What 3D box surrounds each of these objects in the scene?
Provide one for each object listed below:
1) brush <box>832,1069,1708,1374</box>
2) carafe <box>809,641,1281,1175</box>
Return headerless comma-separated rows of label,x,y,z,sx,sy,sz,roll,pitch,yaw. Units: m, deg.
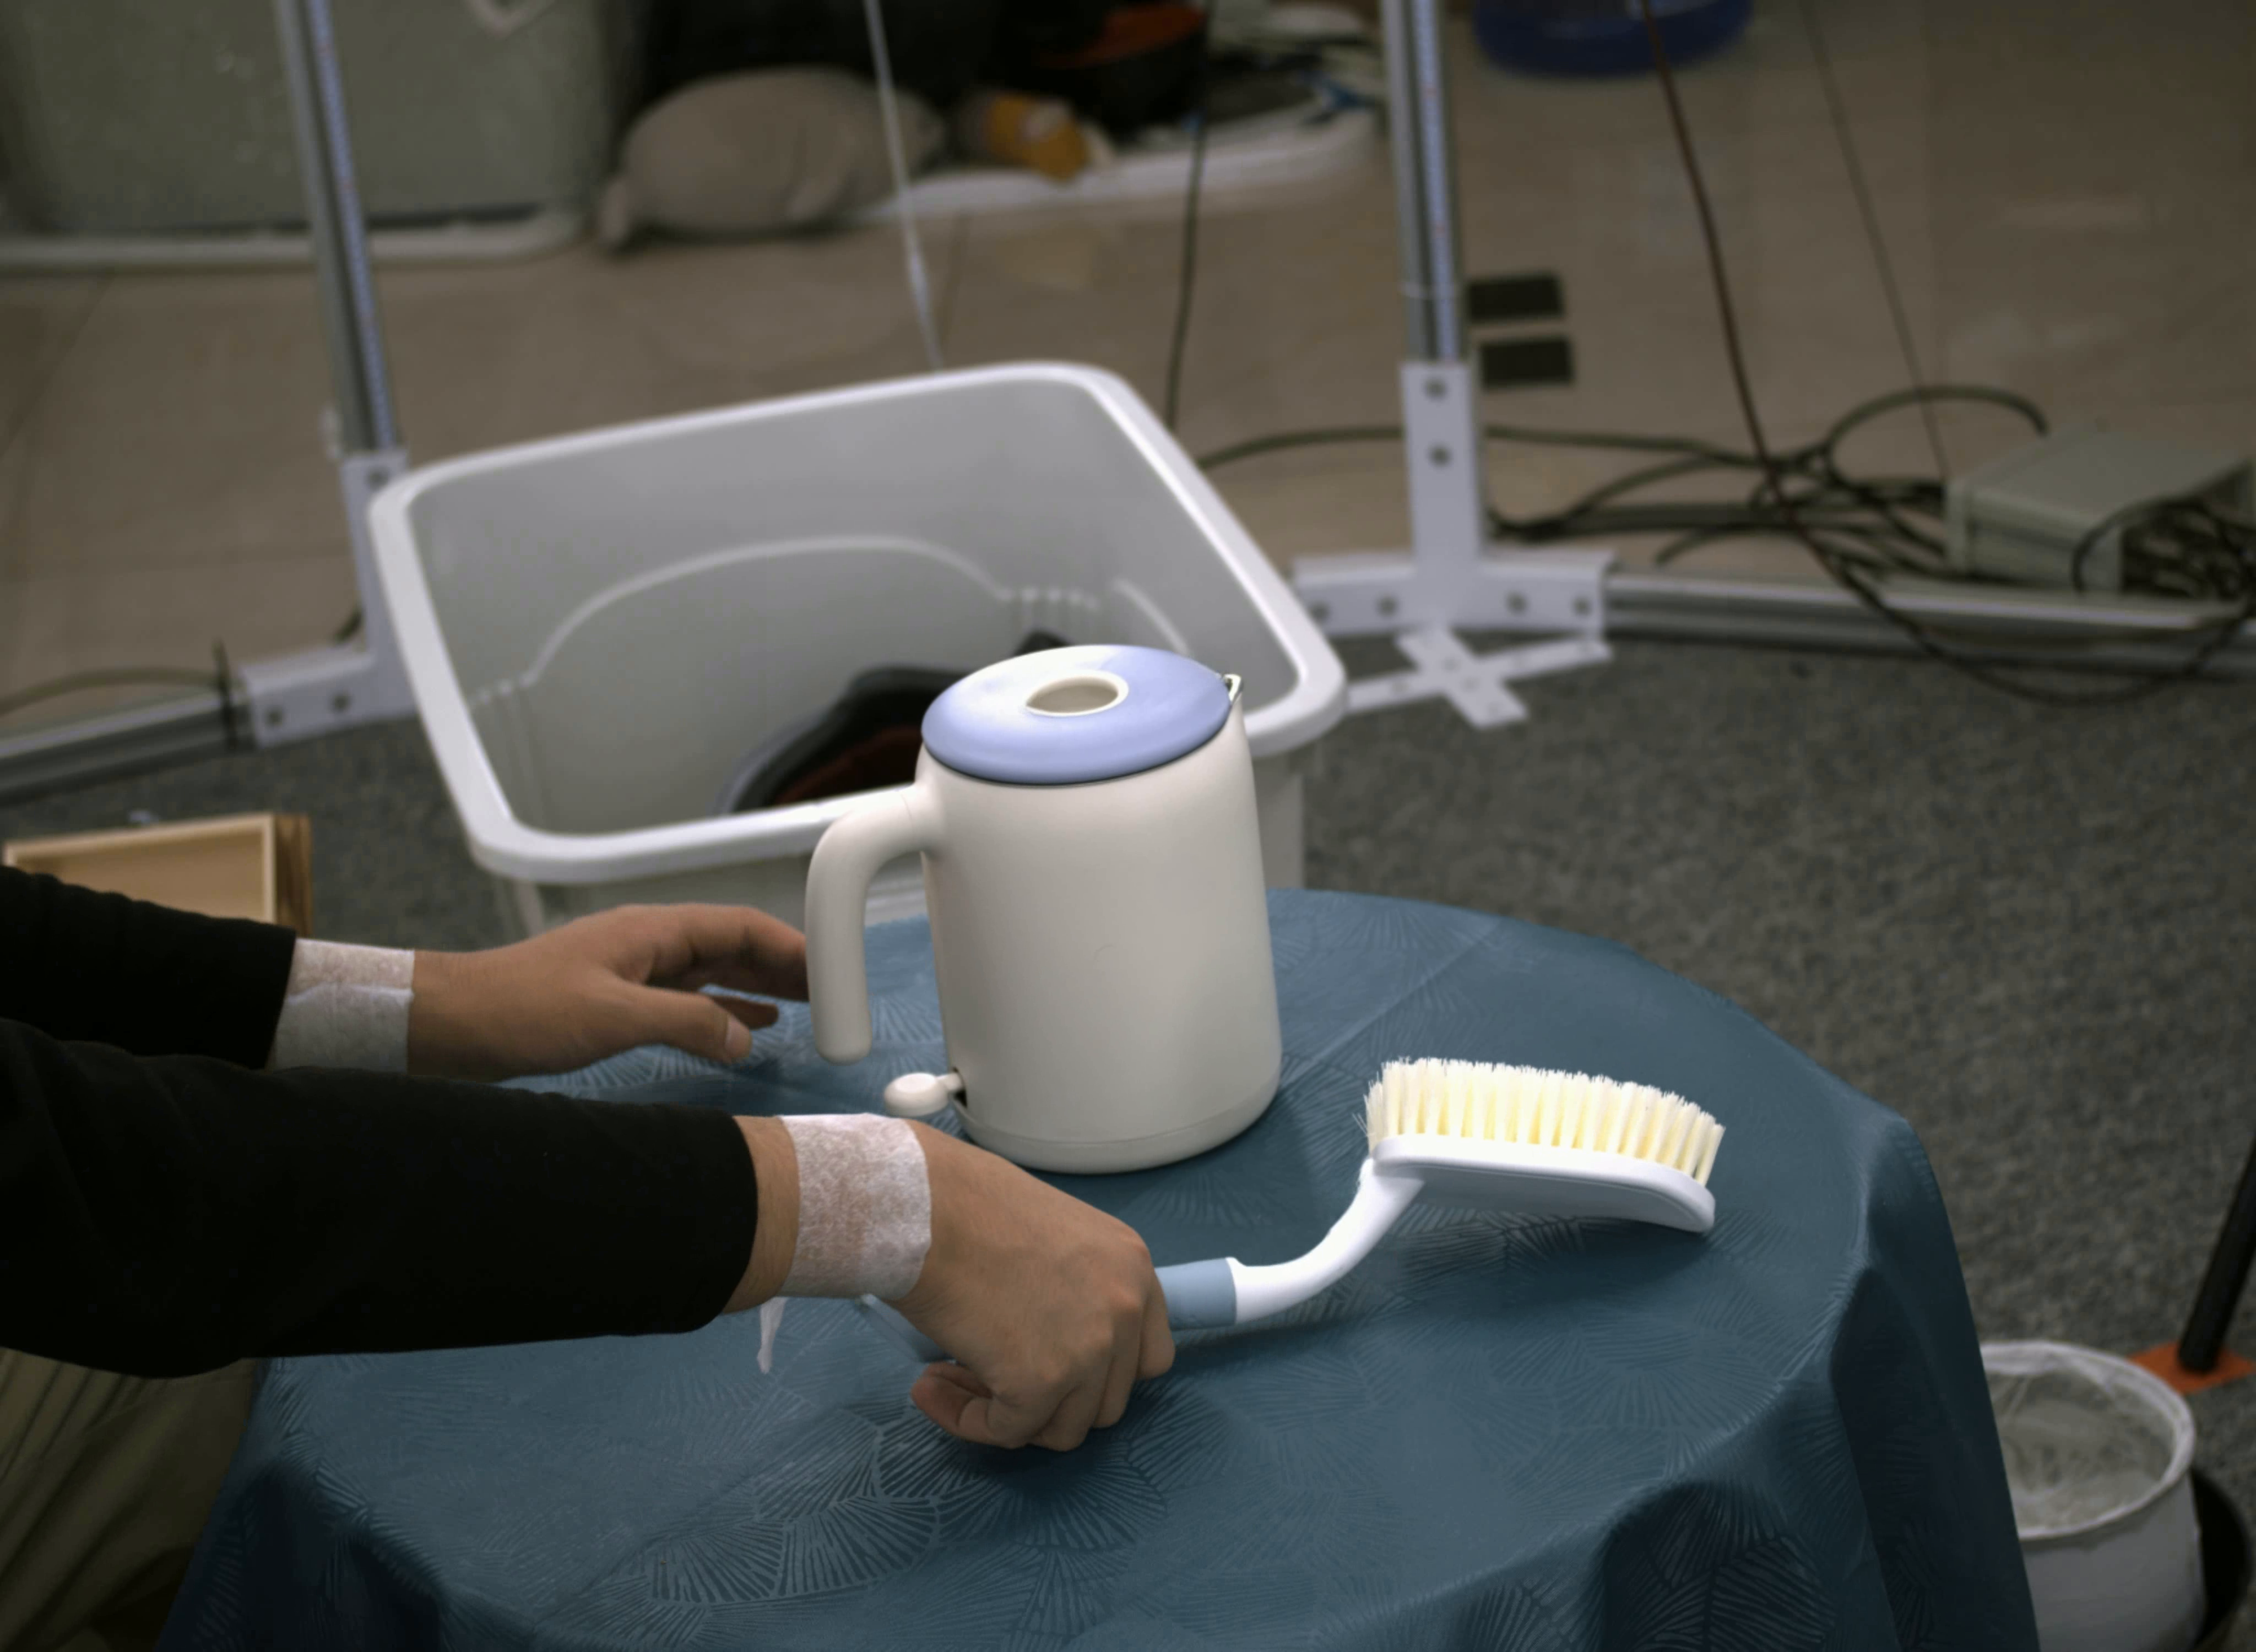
brush,0.050,0.128,2.043,0.325,0.084,0.083,-6,36,-10
carafe,-0.034,0.037,2.168,0.190,0.185,0.130,-17,27,-19
